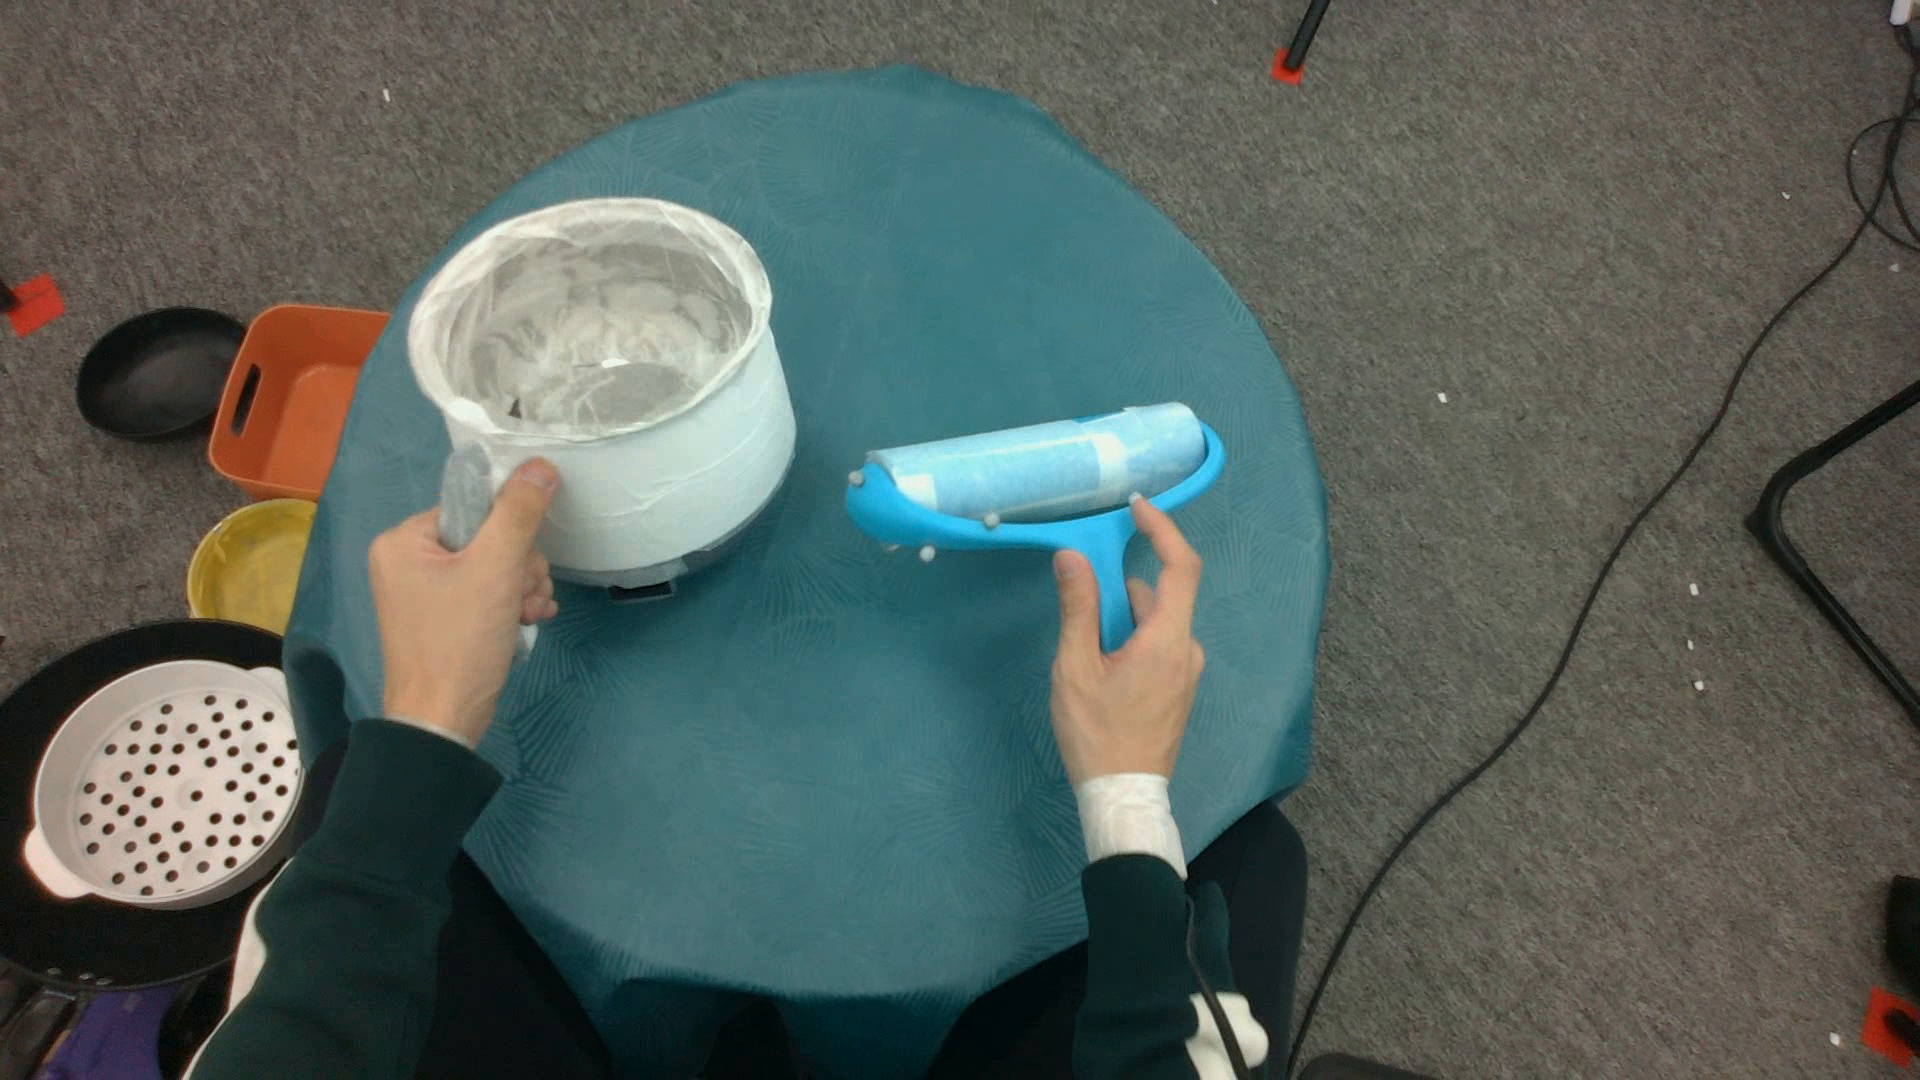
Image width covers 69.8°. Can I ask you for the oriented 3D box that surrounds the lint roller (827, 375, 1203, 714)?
[{"bbox_3d":[0.058,0.002,0.747,0.230,0.067,0.180,-16,70,-29],"label":"lint roller"}]

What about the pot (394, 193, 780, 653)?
[{"bbox_3d":[-0.198,-0.058,0.715,0.178,0.136,0.235,14,52,15],"label":"pot"}]
